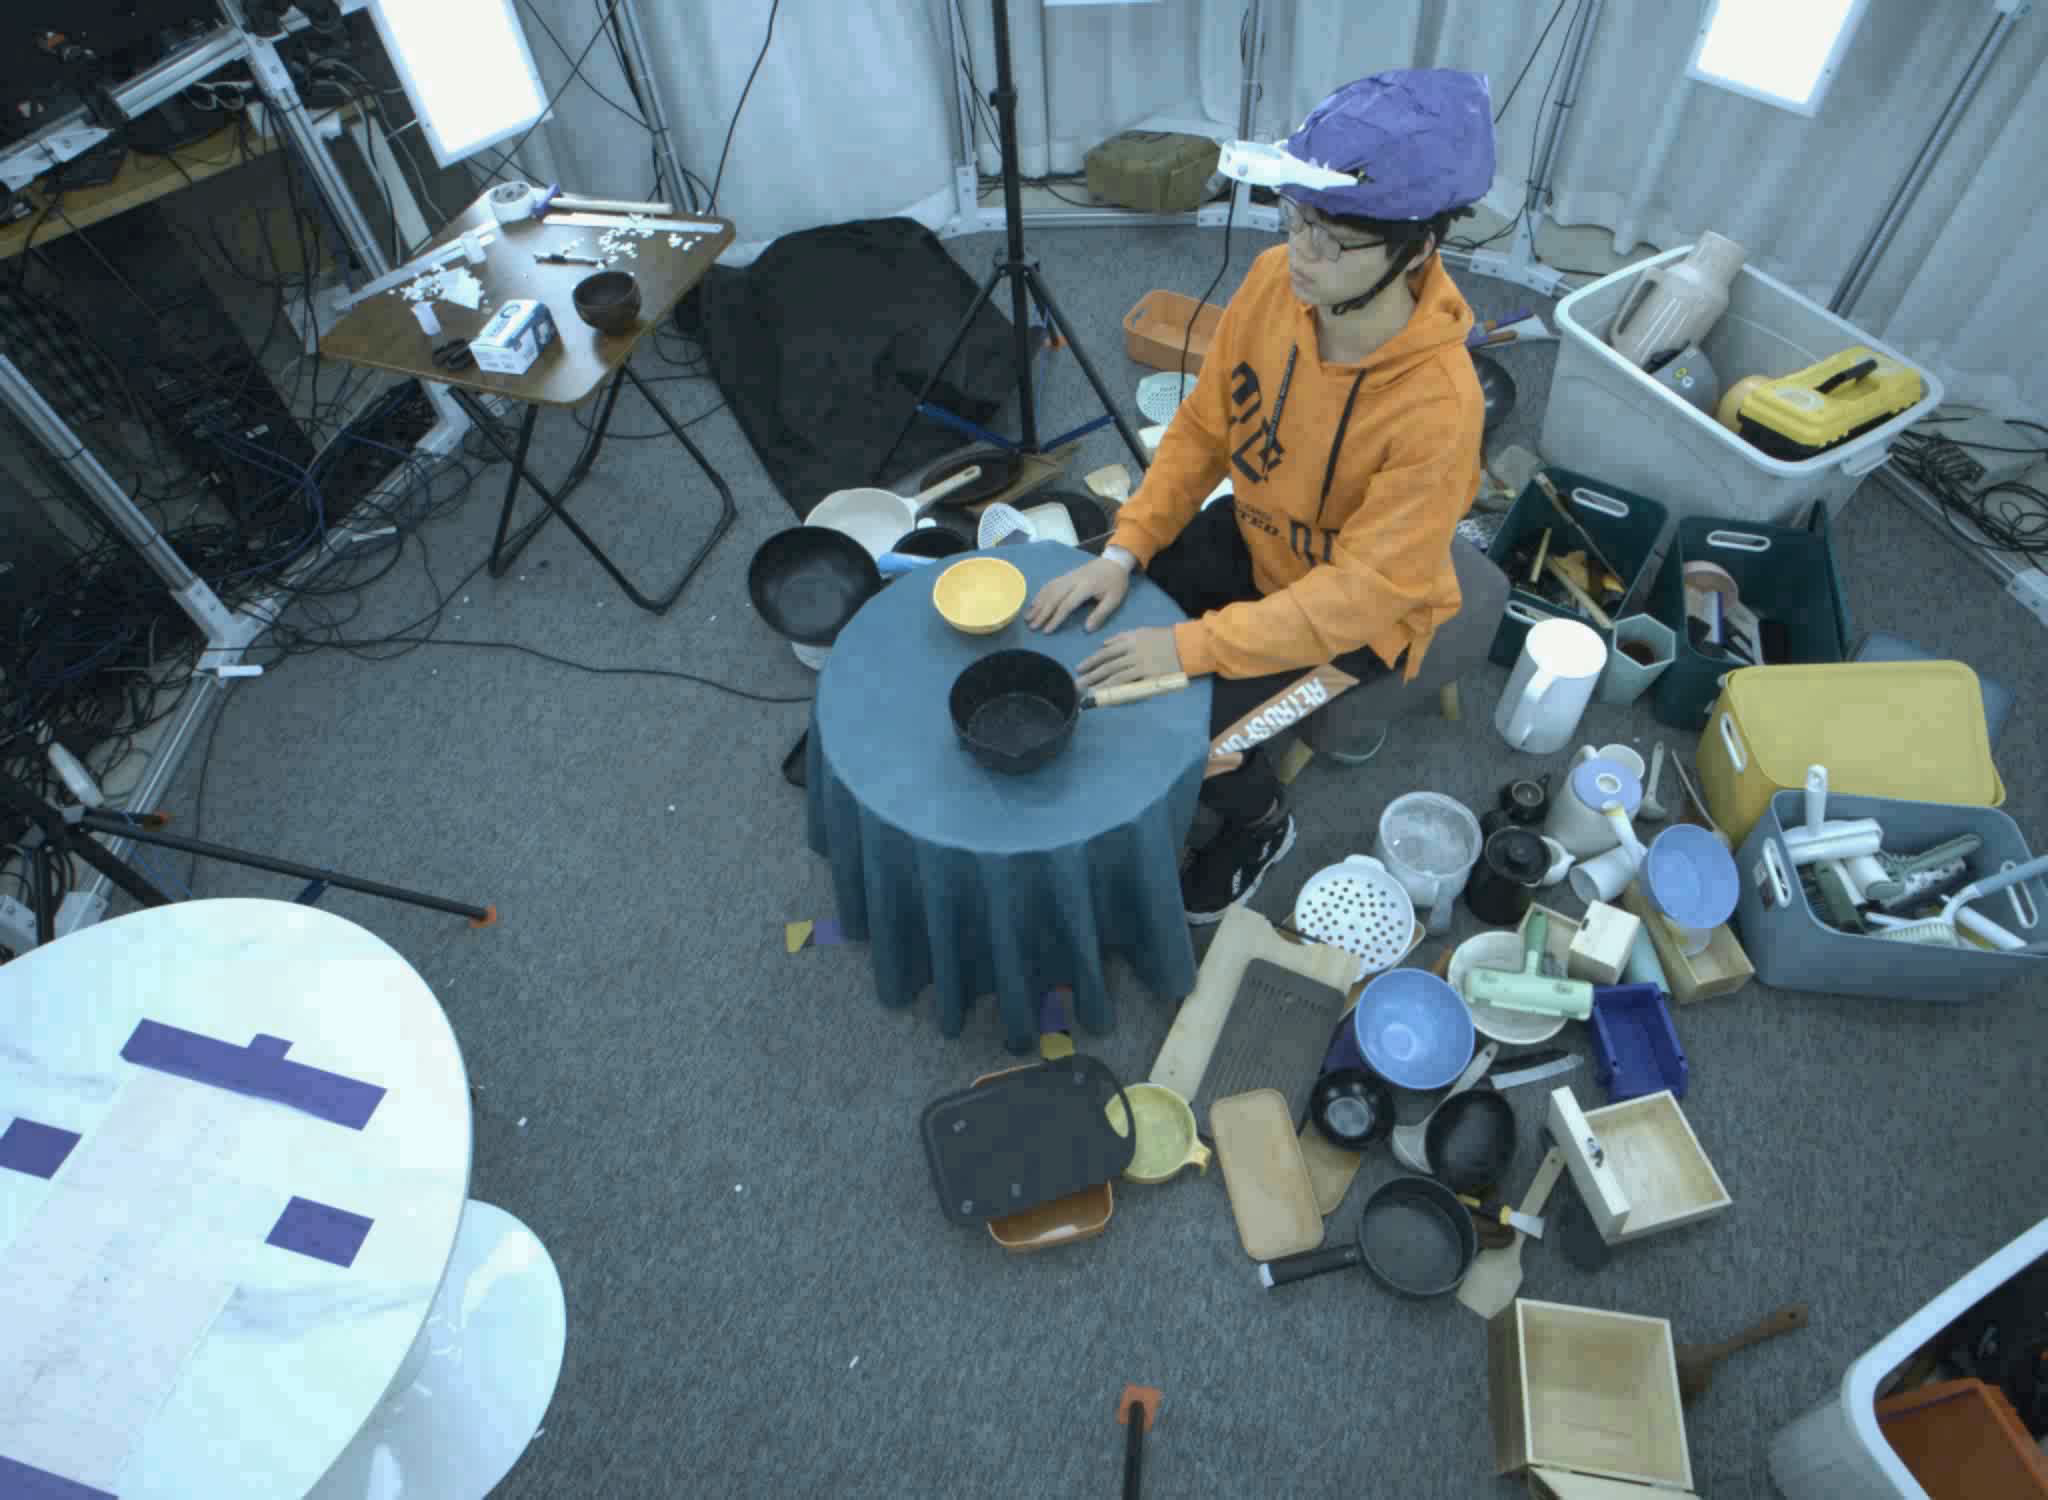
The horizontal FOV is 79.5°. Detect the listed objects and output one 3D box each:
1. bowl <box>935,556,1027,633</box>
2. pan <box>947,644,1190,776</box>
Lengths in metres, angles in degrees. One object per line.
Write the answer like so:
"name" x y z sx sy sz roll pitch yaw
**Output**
"bowl" -0.066 -0.231 1.917 0.145 0.061 0.144 0 56 2
"pan" 0.065 -0.062 1.762 0.343 0.109 0.205 -5 53 0
